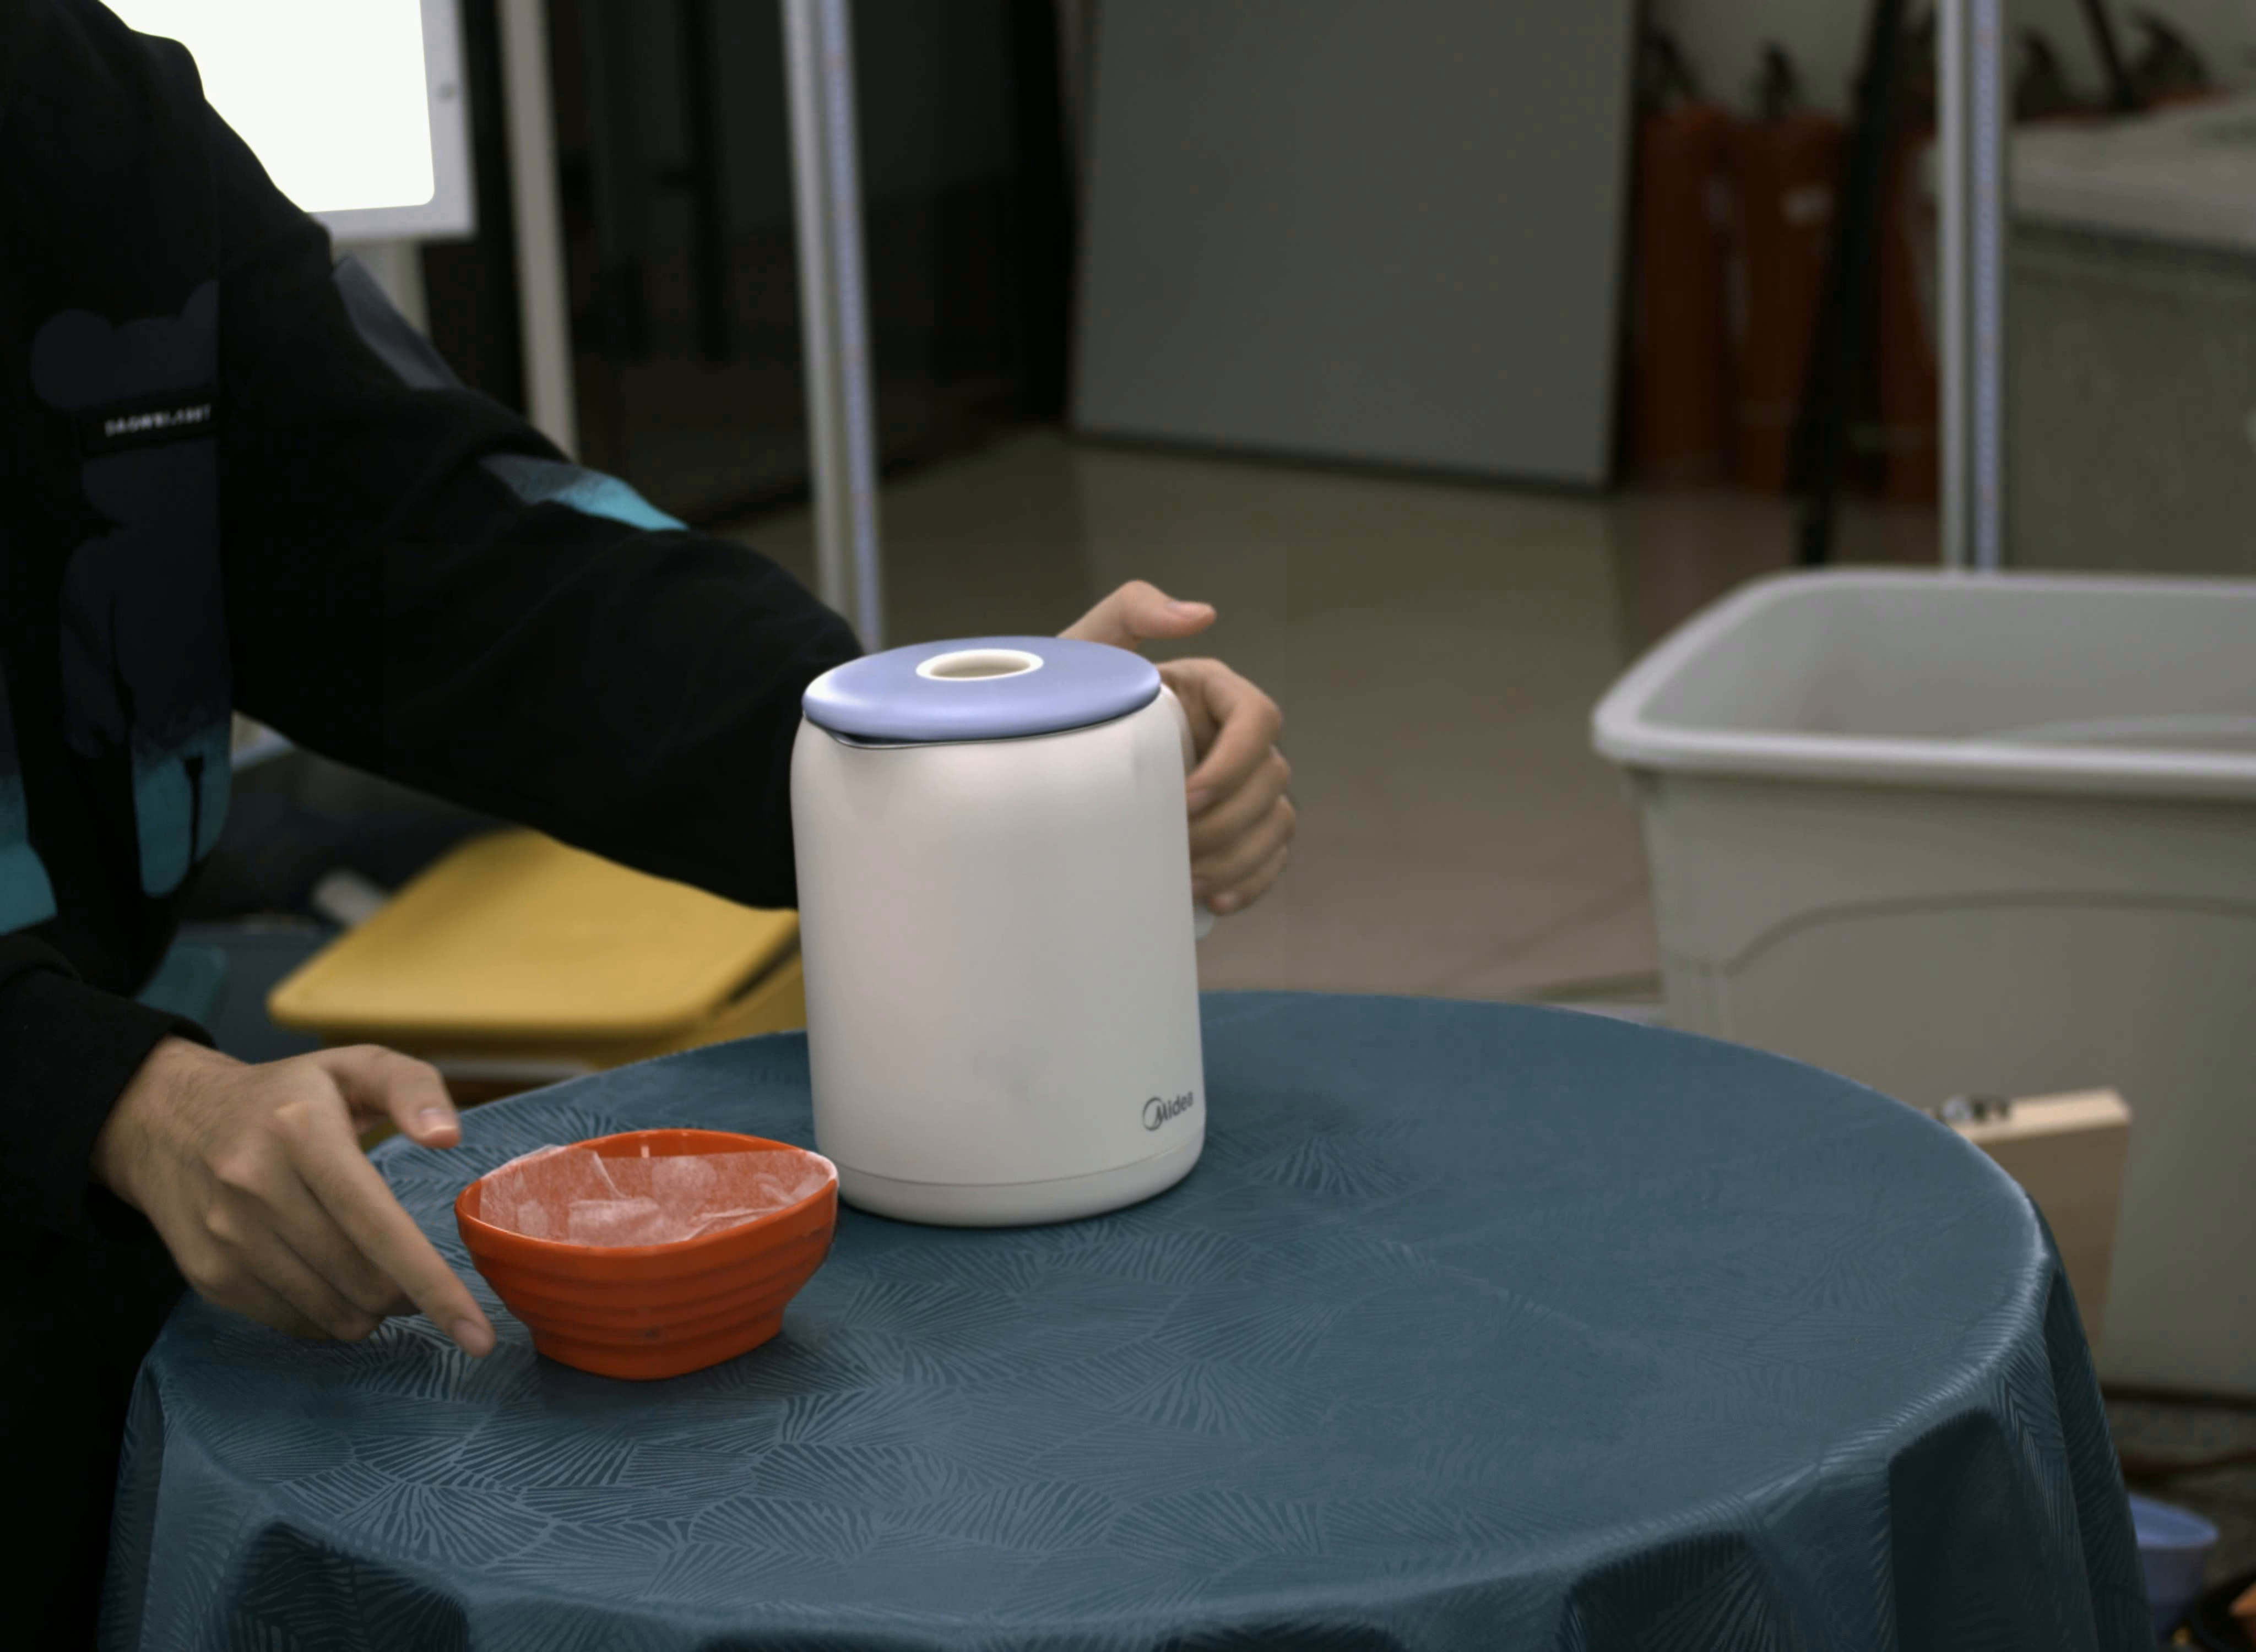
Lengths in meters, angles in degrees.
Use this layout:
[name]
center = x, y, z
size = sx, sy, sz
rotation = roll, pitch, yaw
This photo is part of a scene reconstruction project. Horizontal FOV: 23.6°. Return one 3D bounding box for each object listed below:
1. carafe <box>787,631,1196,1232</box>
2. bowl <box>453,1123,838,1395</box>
[carafe]
center = -0.032, 0.029, 1.799
size = 0.133, 0.184, 0.188
rotation = 6, 15, 32
[bowl]
center = -0.145, 0.135, 1.656
size = 0.117, 0.052, 0.119
rotation = -4, 18, 1
